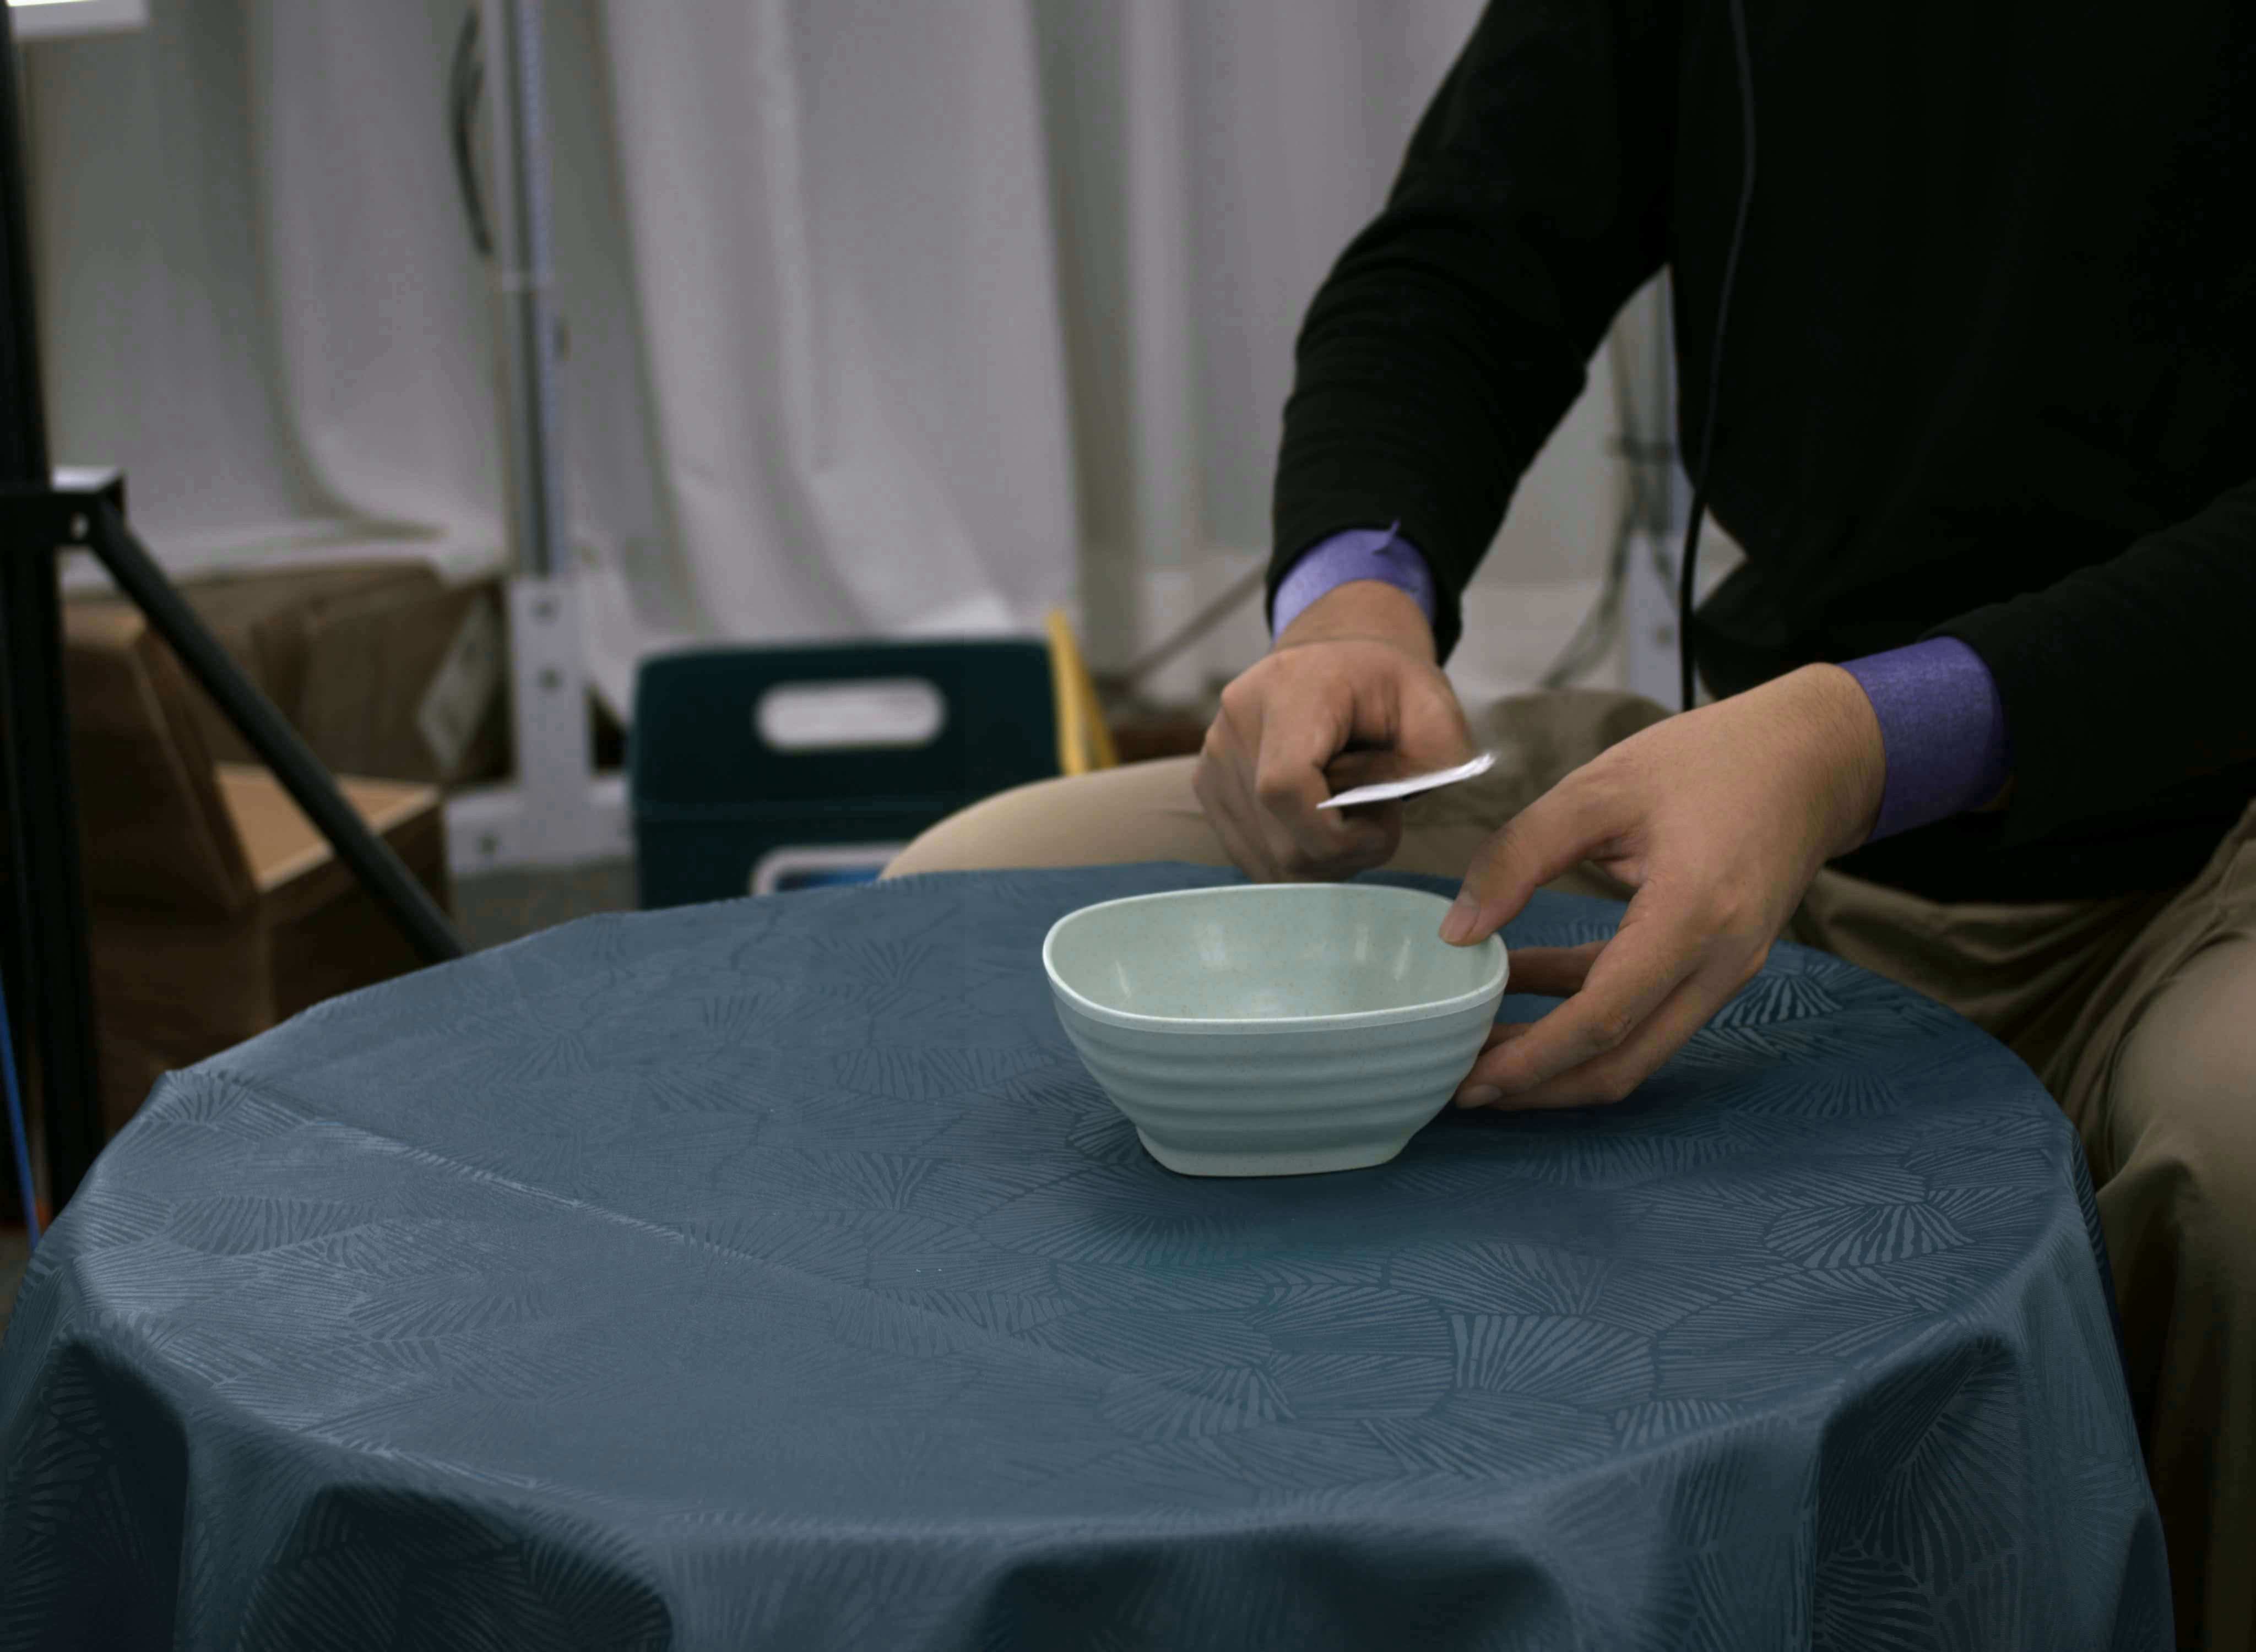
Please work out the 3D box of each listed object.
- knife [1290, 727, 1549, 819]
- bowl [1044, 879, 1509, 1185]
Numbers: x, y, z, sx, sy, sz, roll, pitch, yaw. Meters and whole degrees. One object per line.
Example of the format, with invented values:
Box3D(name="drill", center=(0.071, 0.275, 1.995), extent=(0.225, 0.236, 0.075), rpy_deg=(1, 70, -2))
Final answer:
Box3D(name="knife", center=(0.086, -0.016, 1.652), extent=(0.050, 0.020, 0.290), rpy_deg=(-23, 2, -7))
Box3D(name="bowl", center=(0.045, 0.065, 1.596), extent=(0.150, 0.058, 0.152), rpy_deg=(-2, 17, -1))
